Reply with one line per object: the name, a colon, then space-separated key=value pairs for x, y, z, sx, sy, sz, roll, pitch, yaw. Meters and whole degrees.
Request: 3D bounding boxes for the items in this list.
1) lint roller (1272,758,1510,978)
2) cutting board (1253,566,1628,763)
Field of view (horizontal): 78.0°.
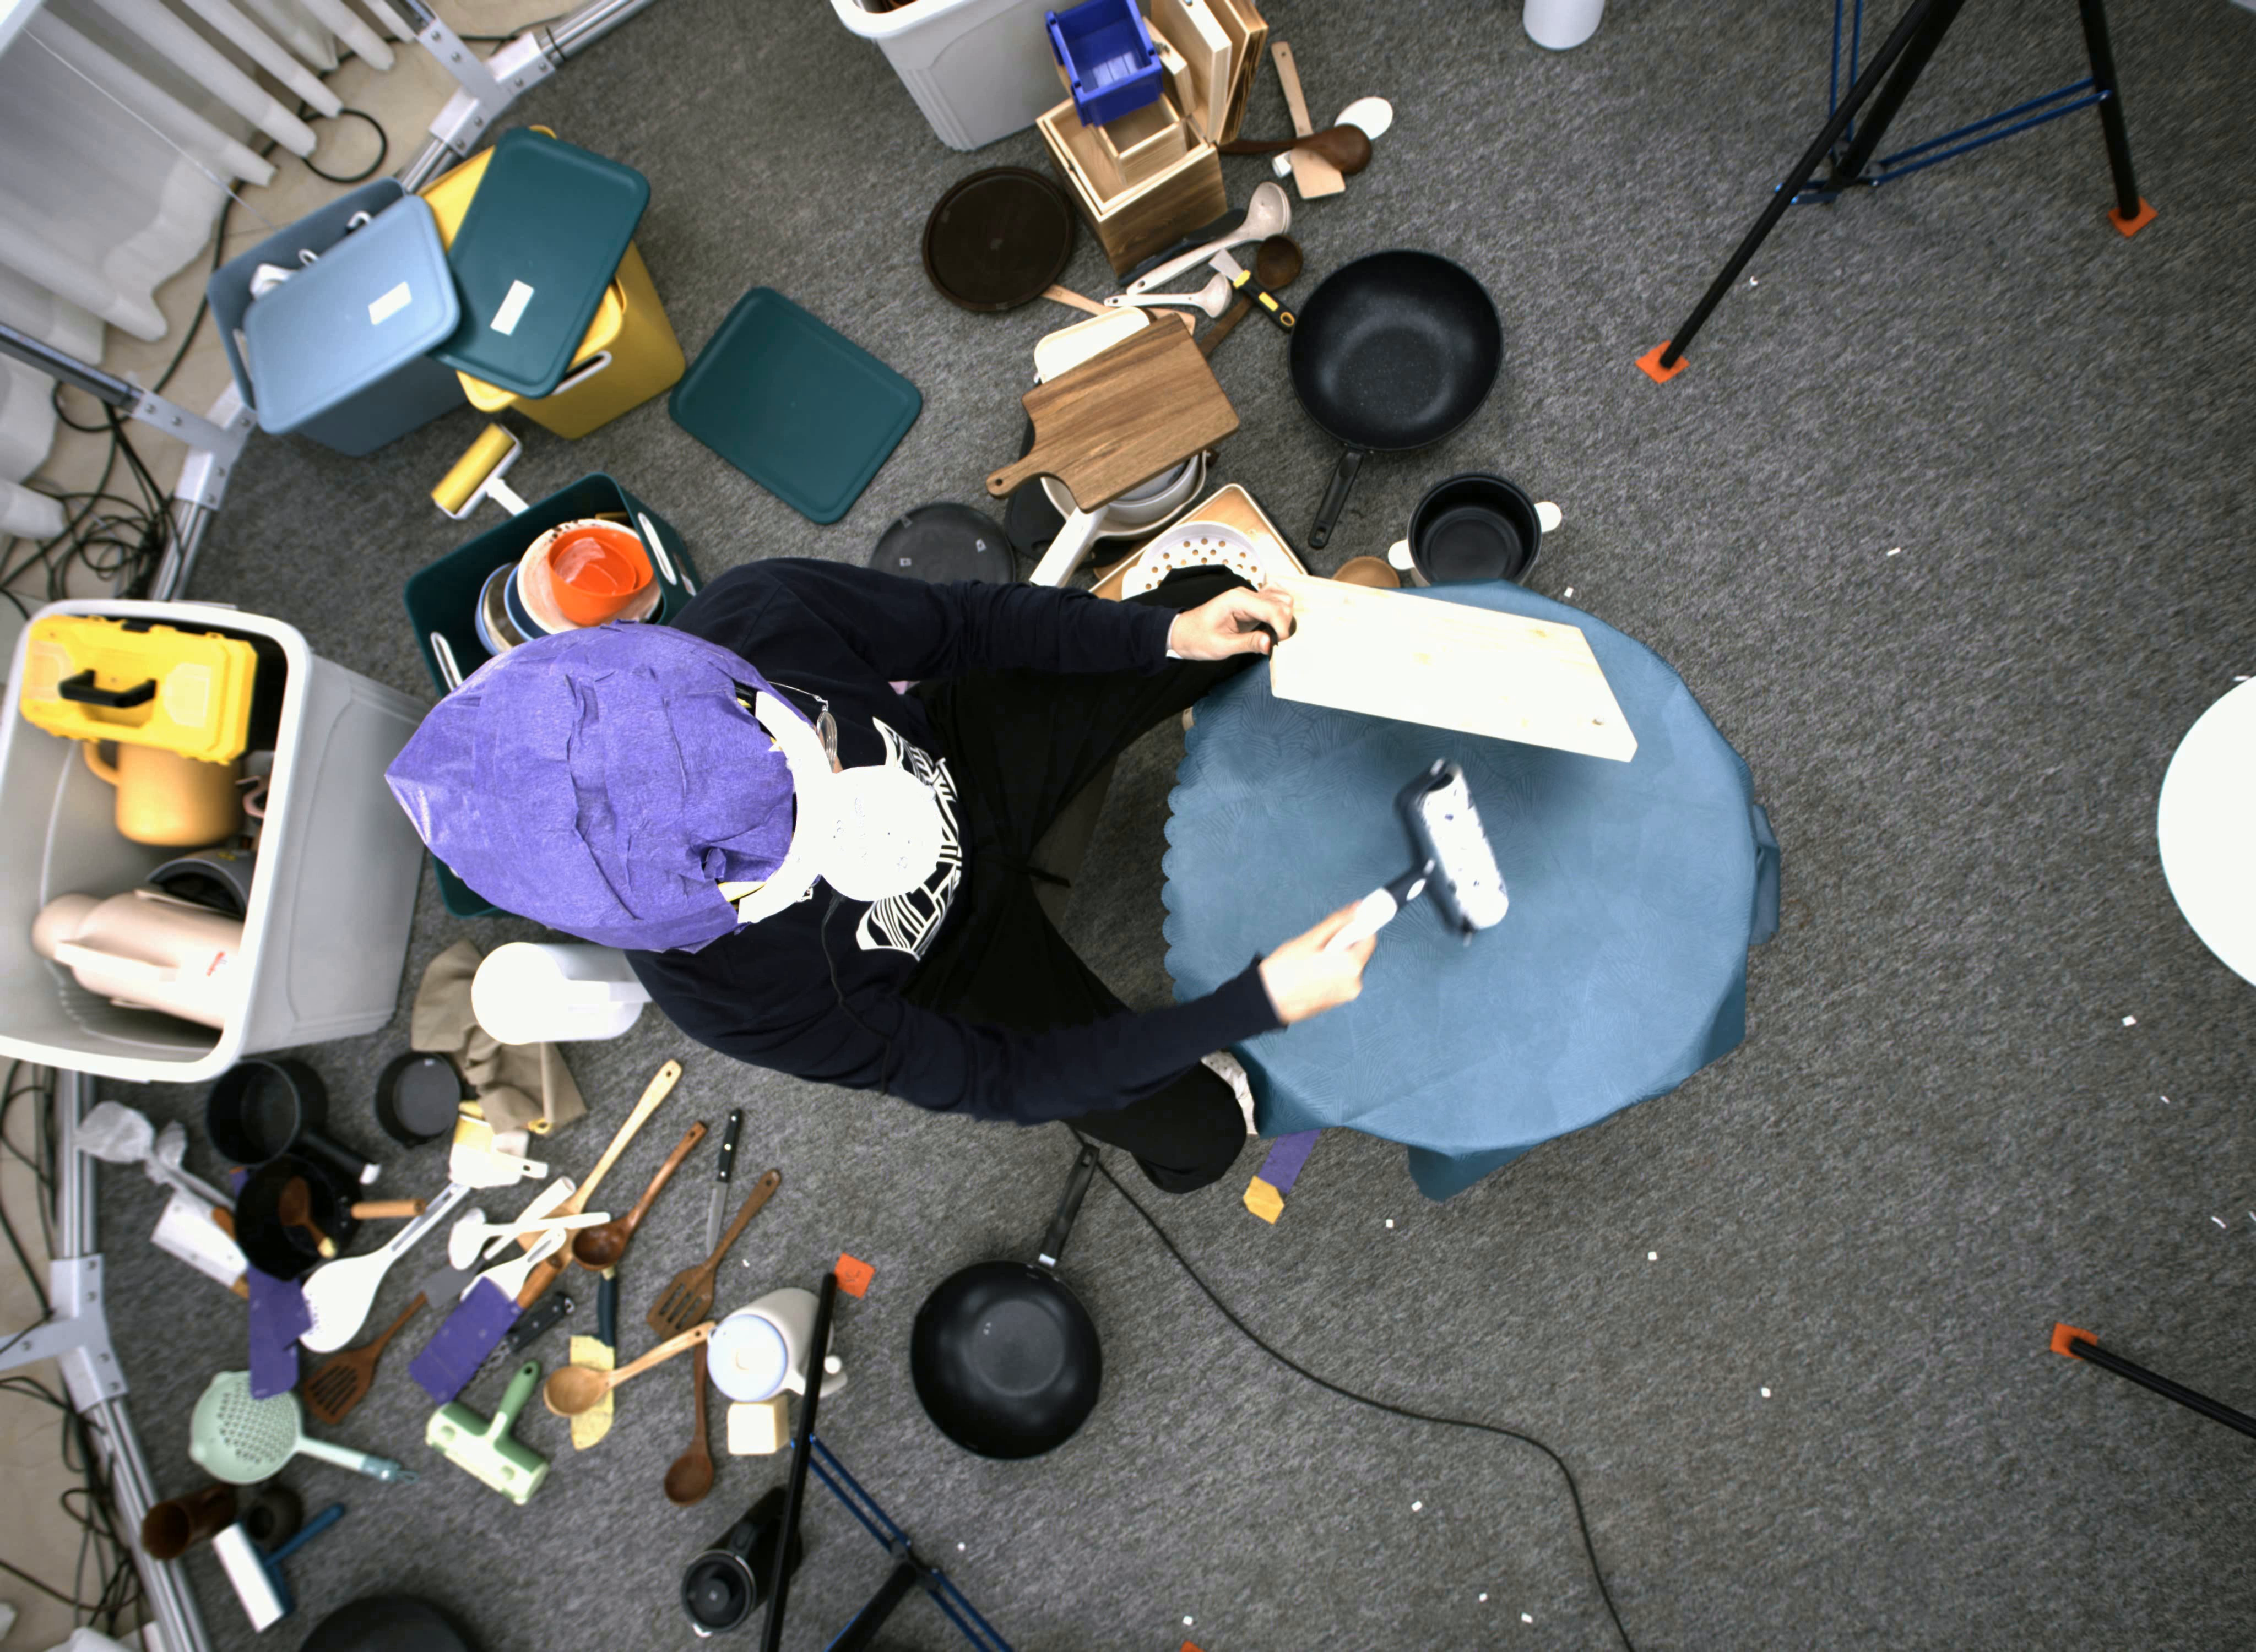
lint roller: x=0.240 y=0.068 z=1.288 sx=0.245 sy=0.050 sz=0.179 roll=-36 pitch=125 yaw=-8
cutting board: x=0.295 y=-0.163 z=1.328 sx=0.349 sy=0.244 sz=0.024 roll=9 pitch=126 yaw=-4
